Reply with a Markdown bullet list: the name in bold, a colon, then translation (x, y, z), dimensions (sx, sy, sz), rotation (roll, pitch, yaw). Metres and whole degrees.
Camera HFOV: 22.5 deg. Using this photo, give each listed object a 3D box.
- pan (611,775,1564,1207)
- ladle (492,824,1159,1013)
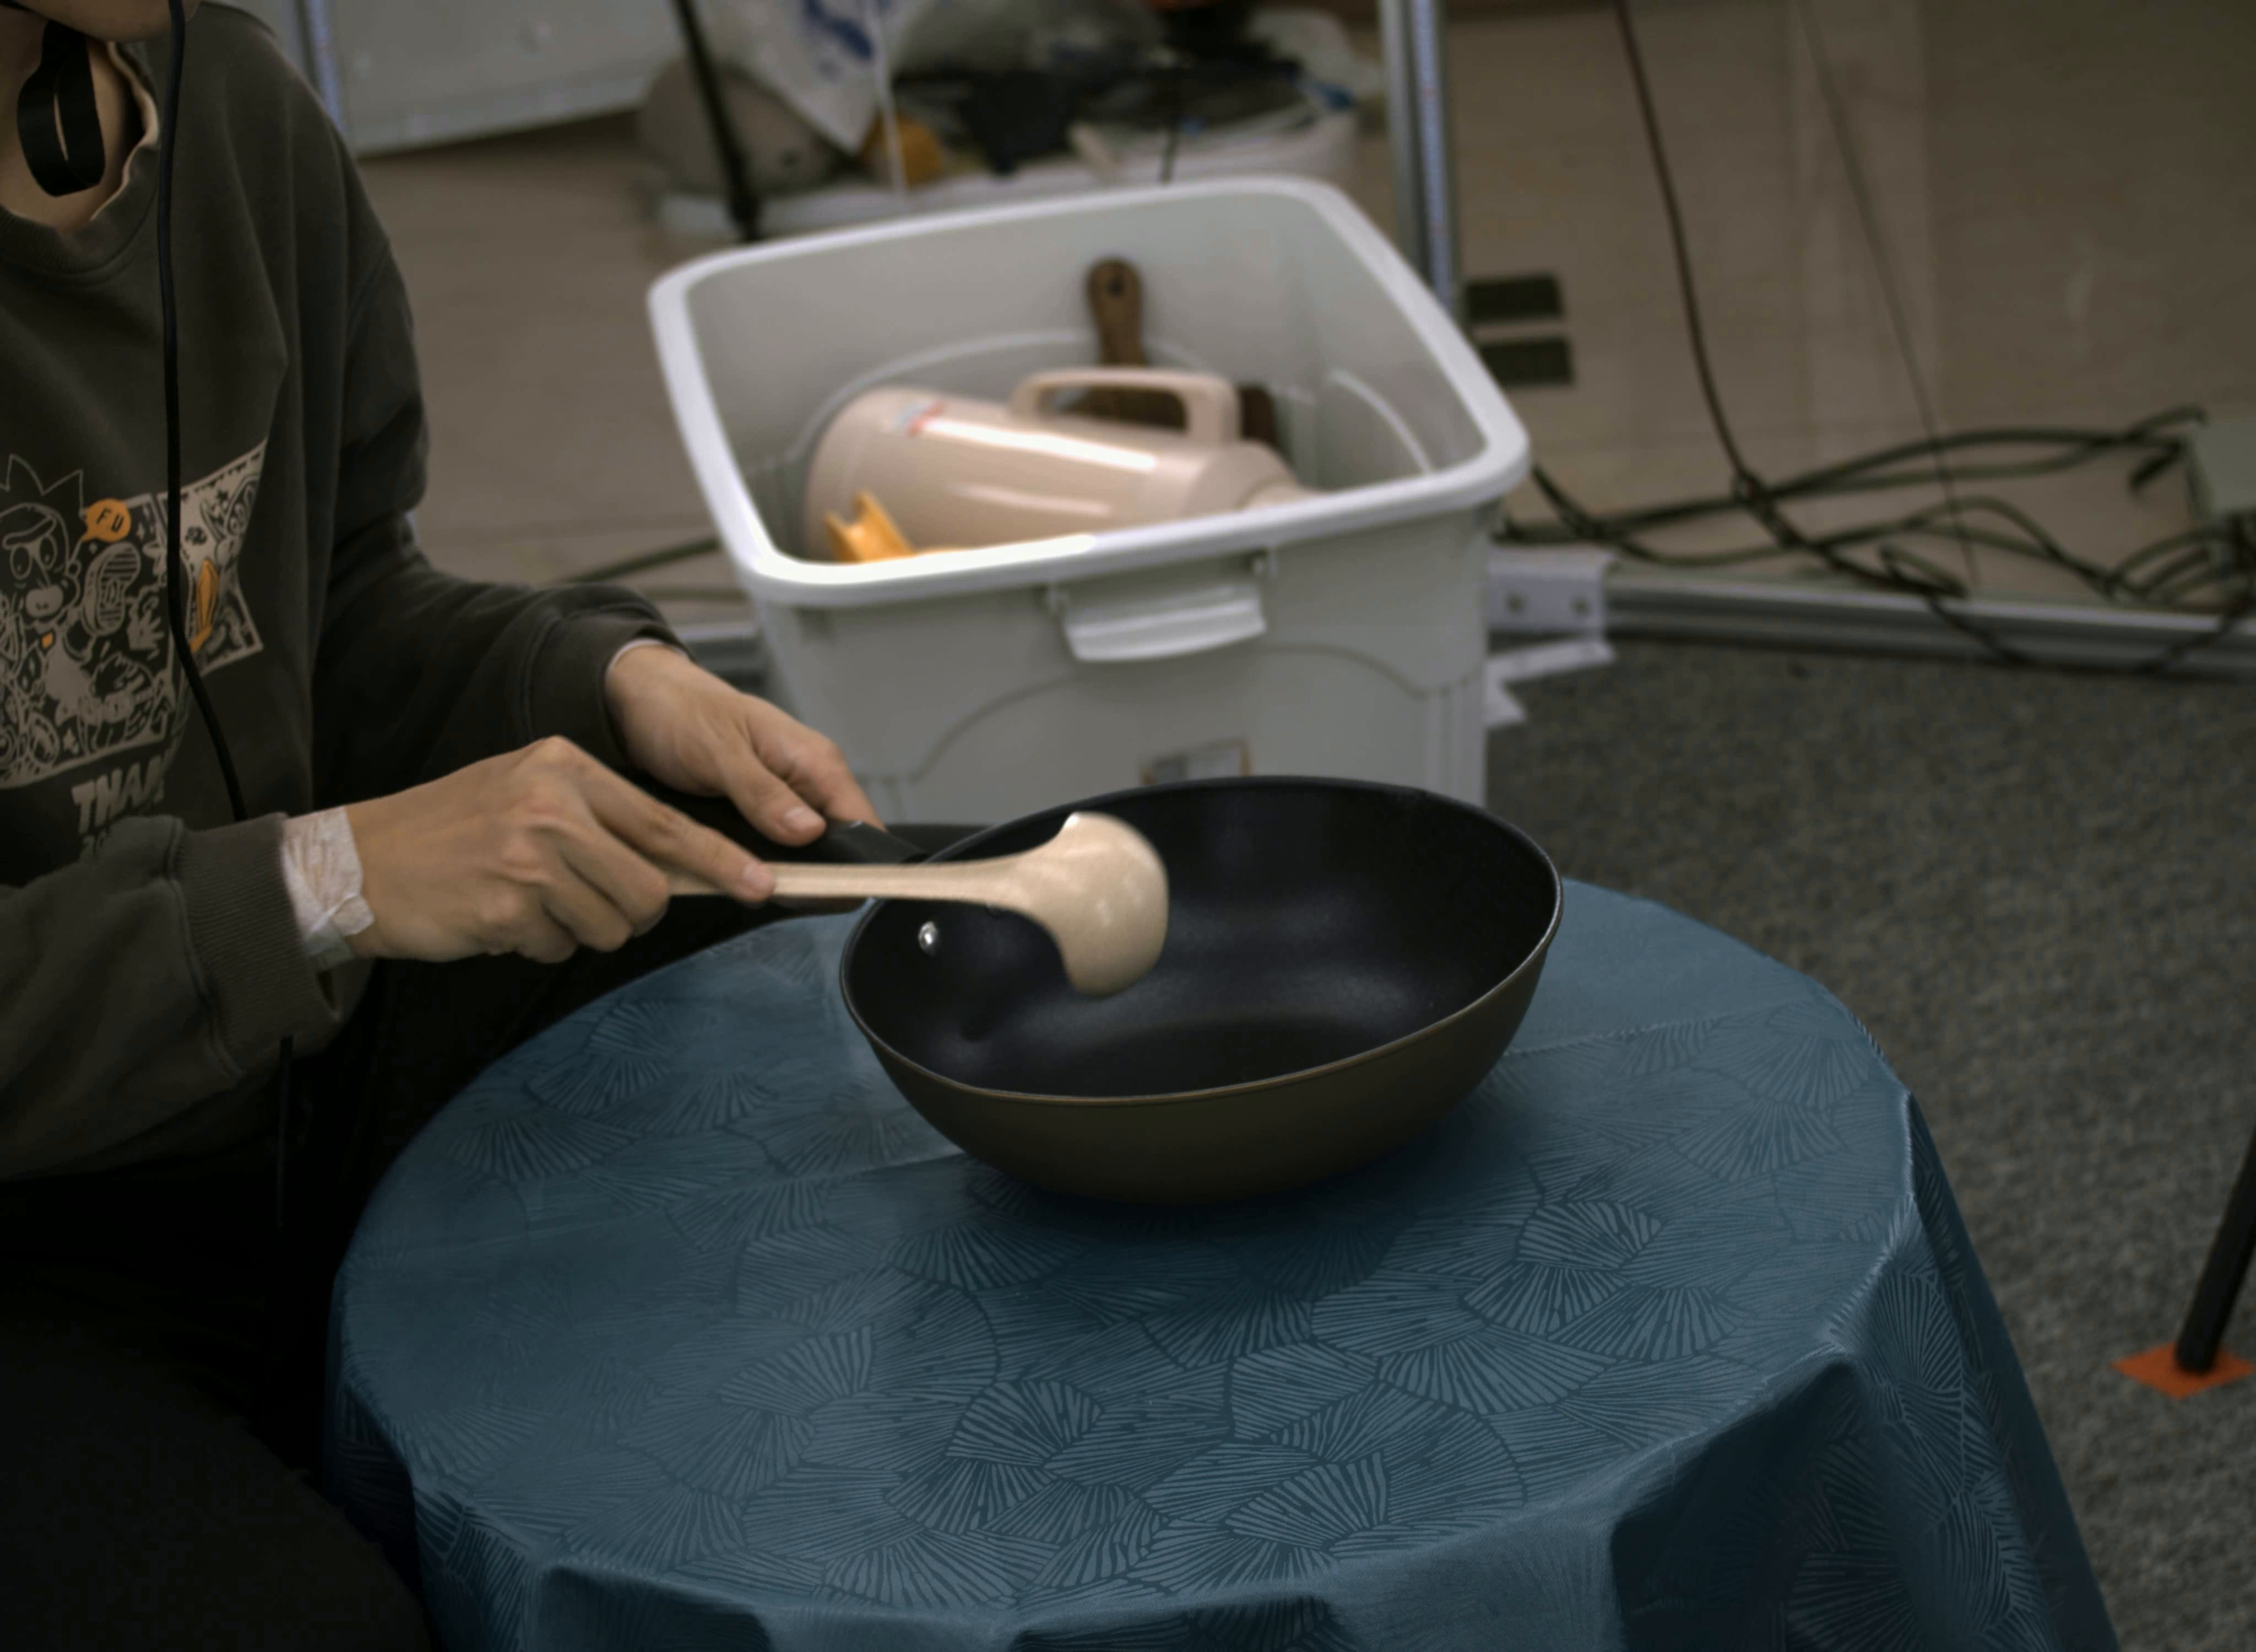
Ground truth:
- **pan**: translation (-0.038, 0.057, 2.234), dimensions (0.460, 0.088, 0.285), rotation (13, 31, 39)
- **ladle**: translation (-0.116, 0.028, 2.159), dimensions (0.254, 0.071, 0.073), rotation (4, -13, -6)
